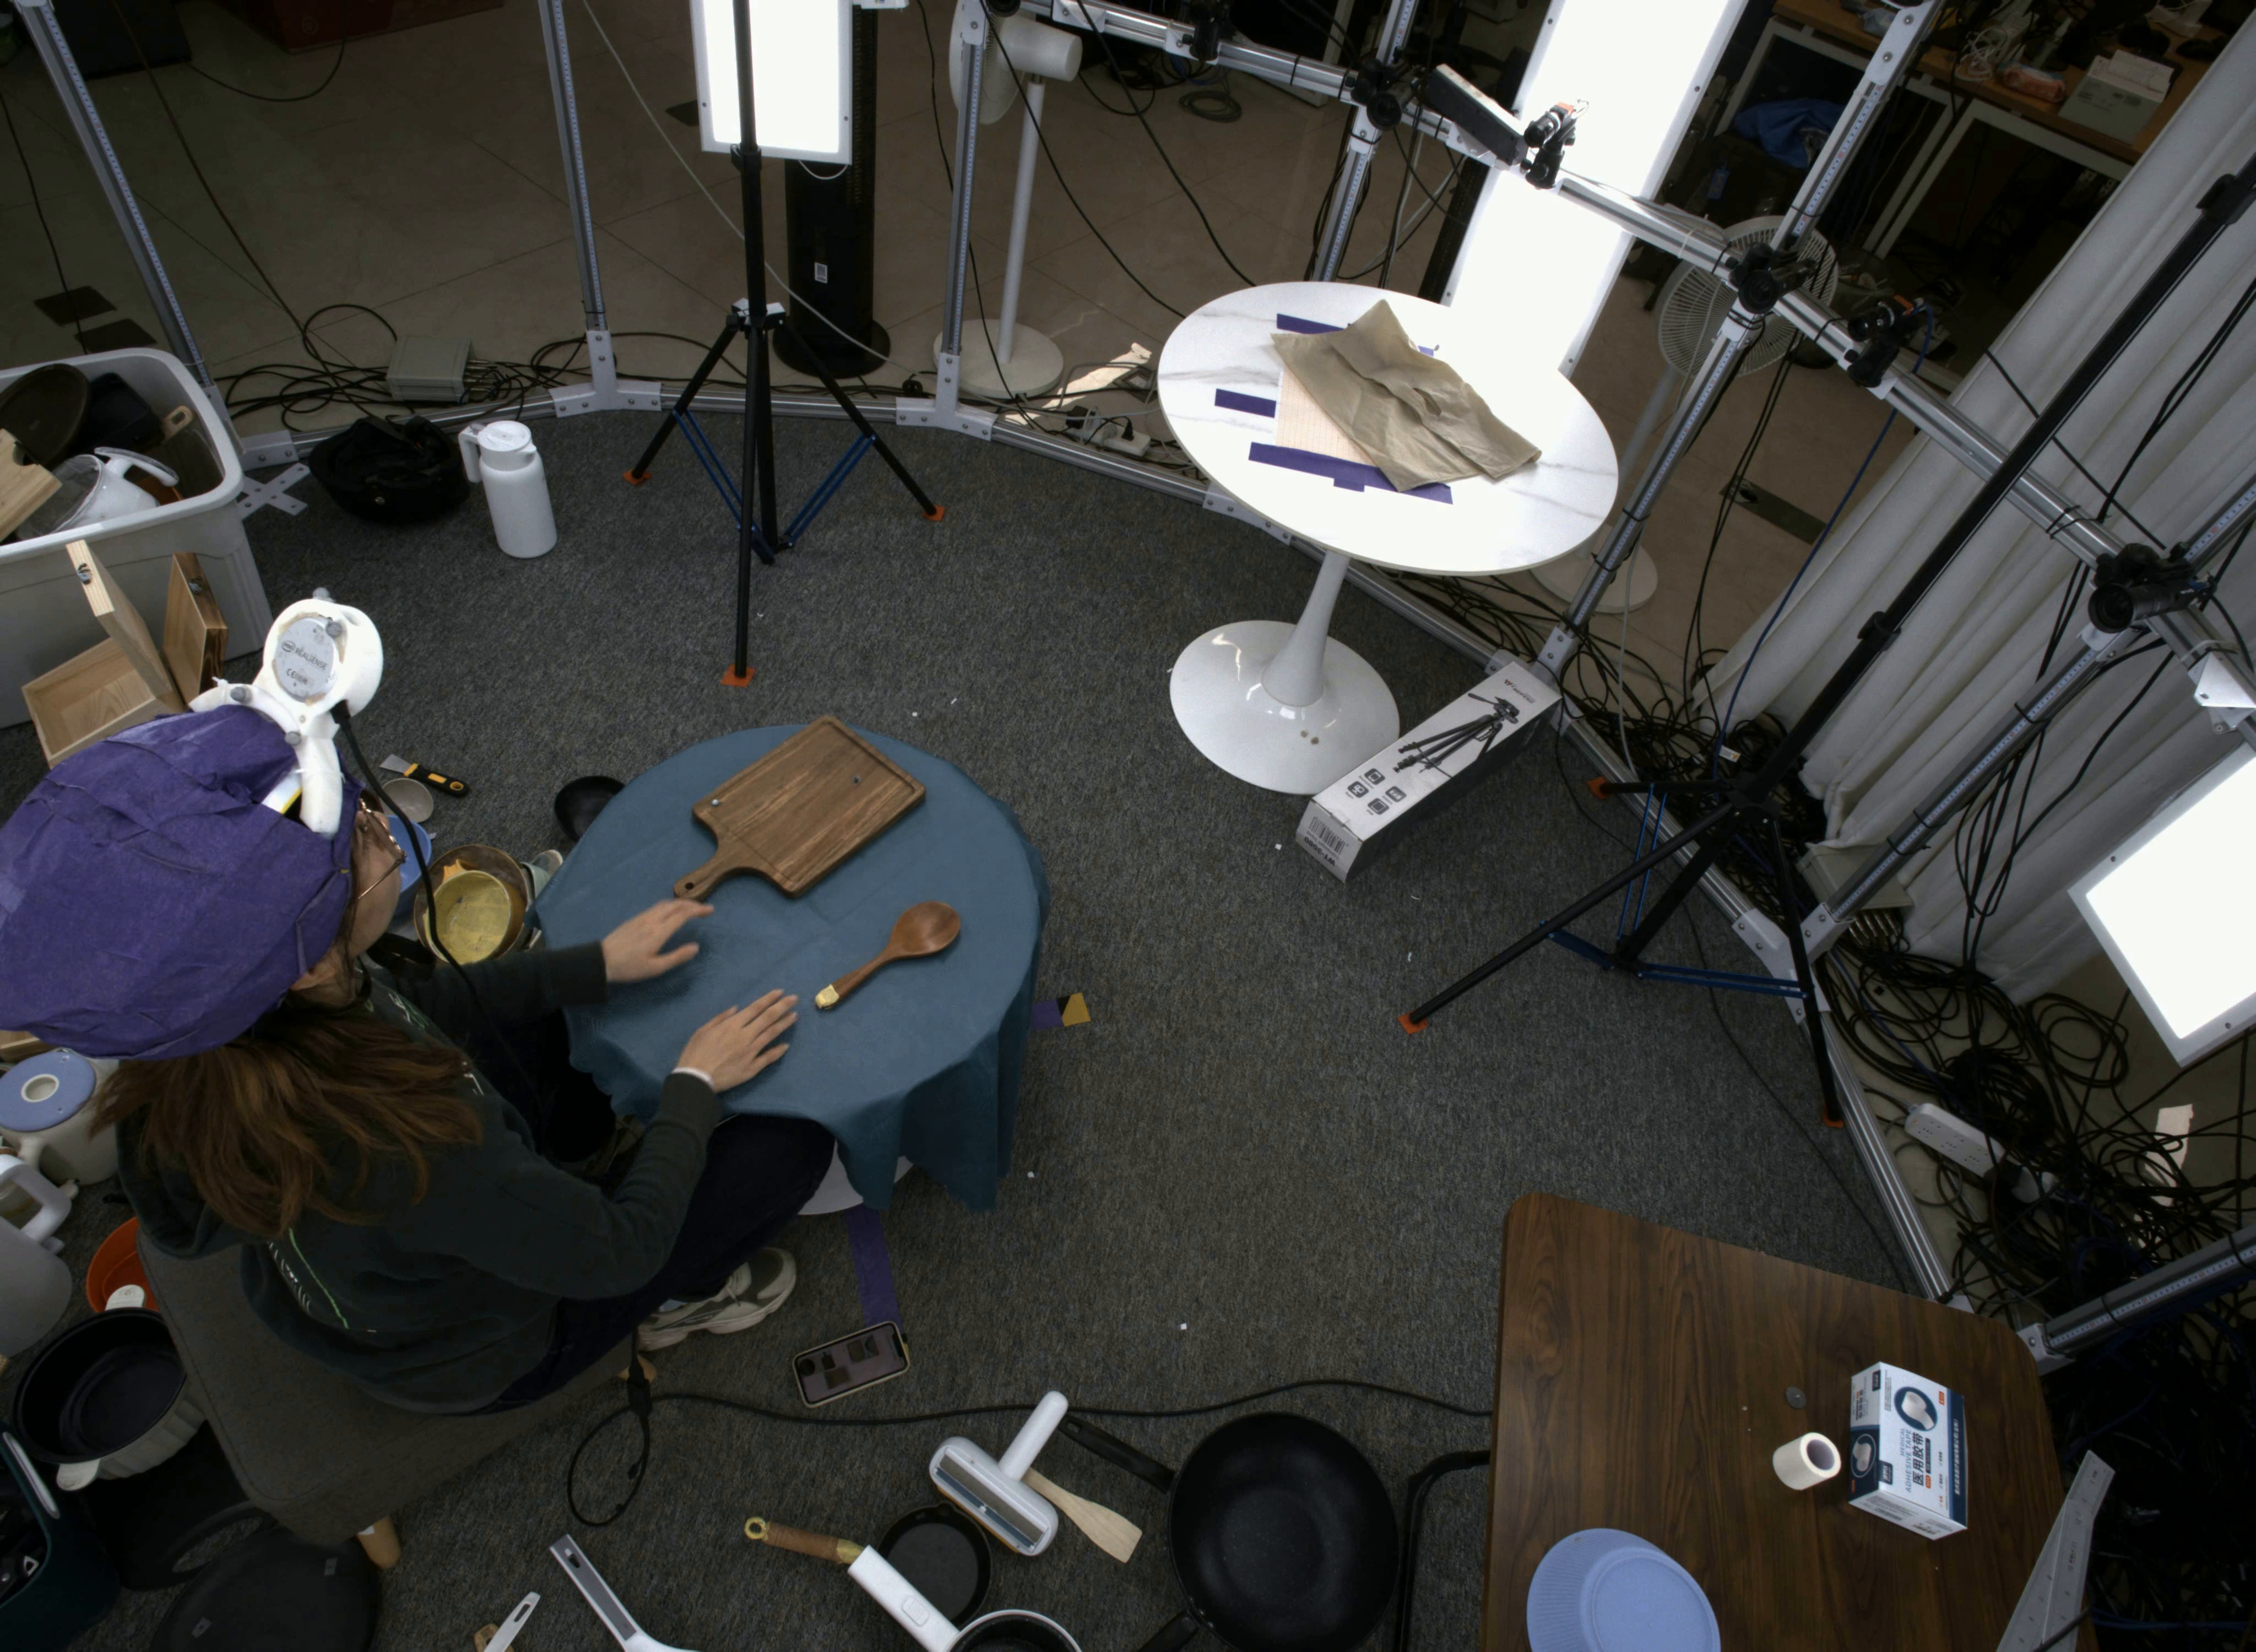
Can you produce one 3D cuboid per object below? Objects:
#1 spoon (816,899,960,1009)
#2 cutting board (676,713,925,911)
[{"bbox_3d":[-0.301,0.160,1.630,0.074,0.017,0.216,43,55,16],"label":"spoon"},{"bbox_3d":[-0.456,-0.005,1.713,0.197,0.023,0.352,38,54,13],"label":"cutting board"}]
